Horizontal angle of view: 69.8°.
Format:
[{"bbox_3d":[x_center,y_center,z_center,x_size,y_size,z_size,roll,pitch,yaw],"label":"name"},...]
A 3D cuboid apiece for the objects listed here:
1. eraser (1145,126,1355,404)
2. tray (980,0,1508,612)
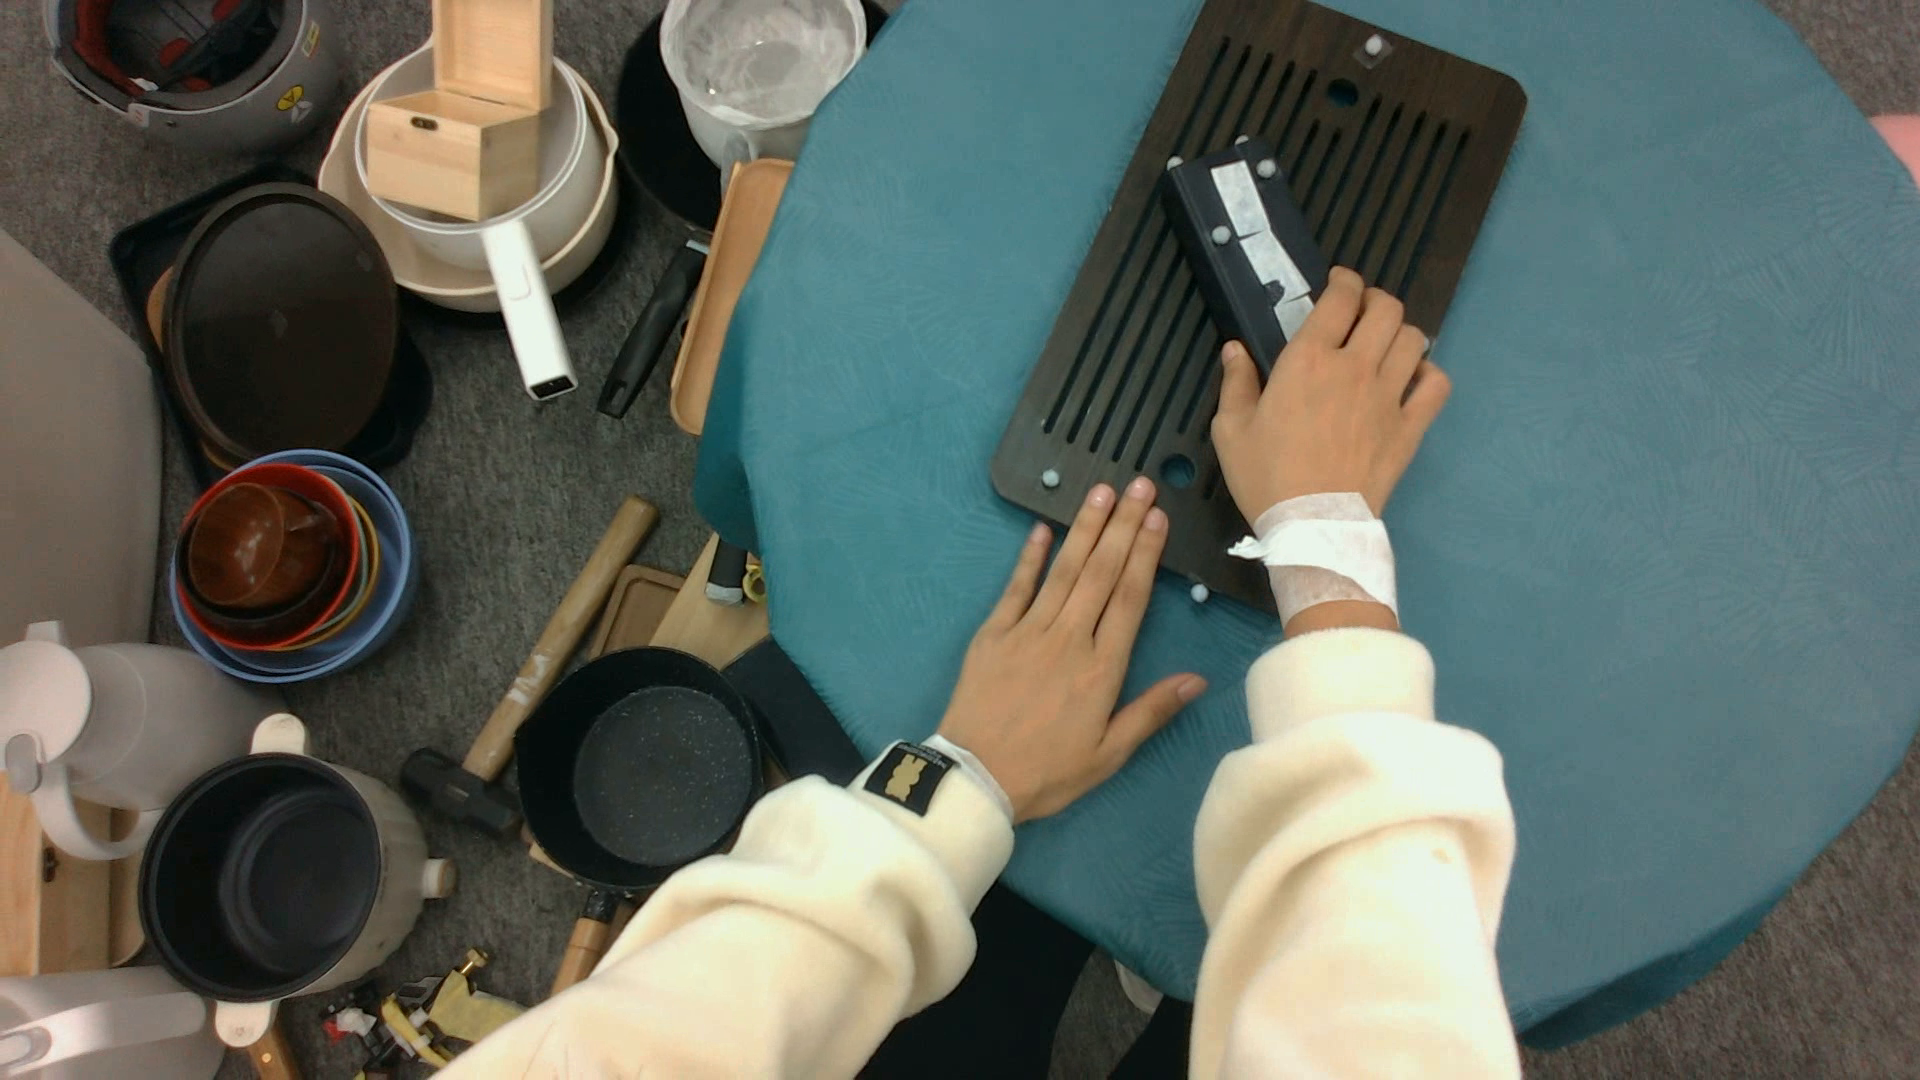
[{"bbox_3d":[0.135,-0.130,0.651,0.053,0.030,0.125,-22,78,-2],"label":"eraser"},{"bbox_3d":[0.142,-0.130,0.673,0.170,0.018,0.306,22,76,6],"label":"tray"}]
